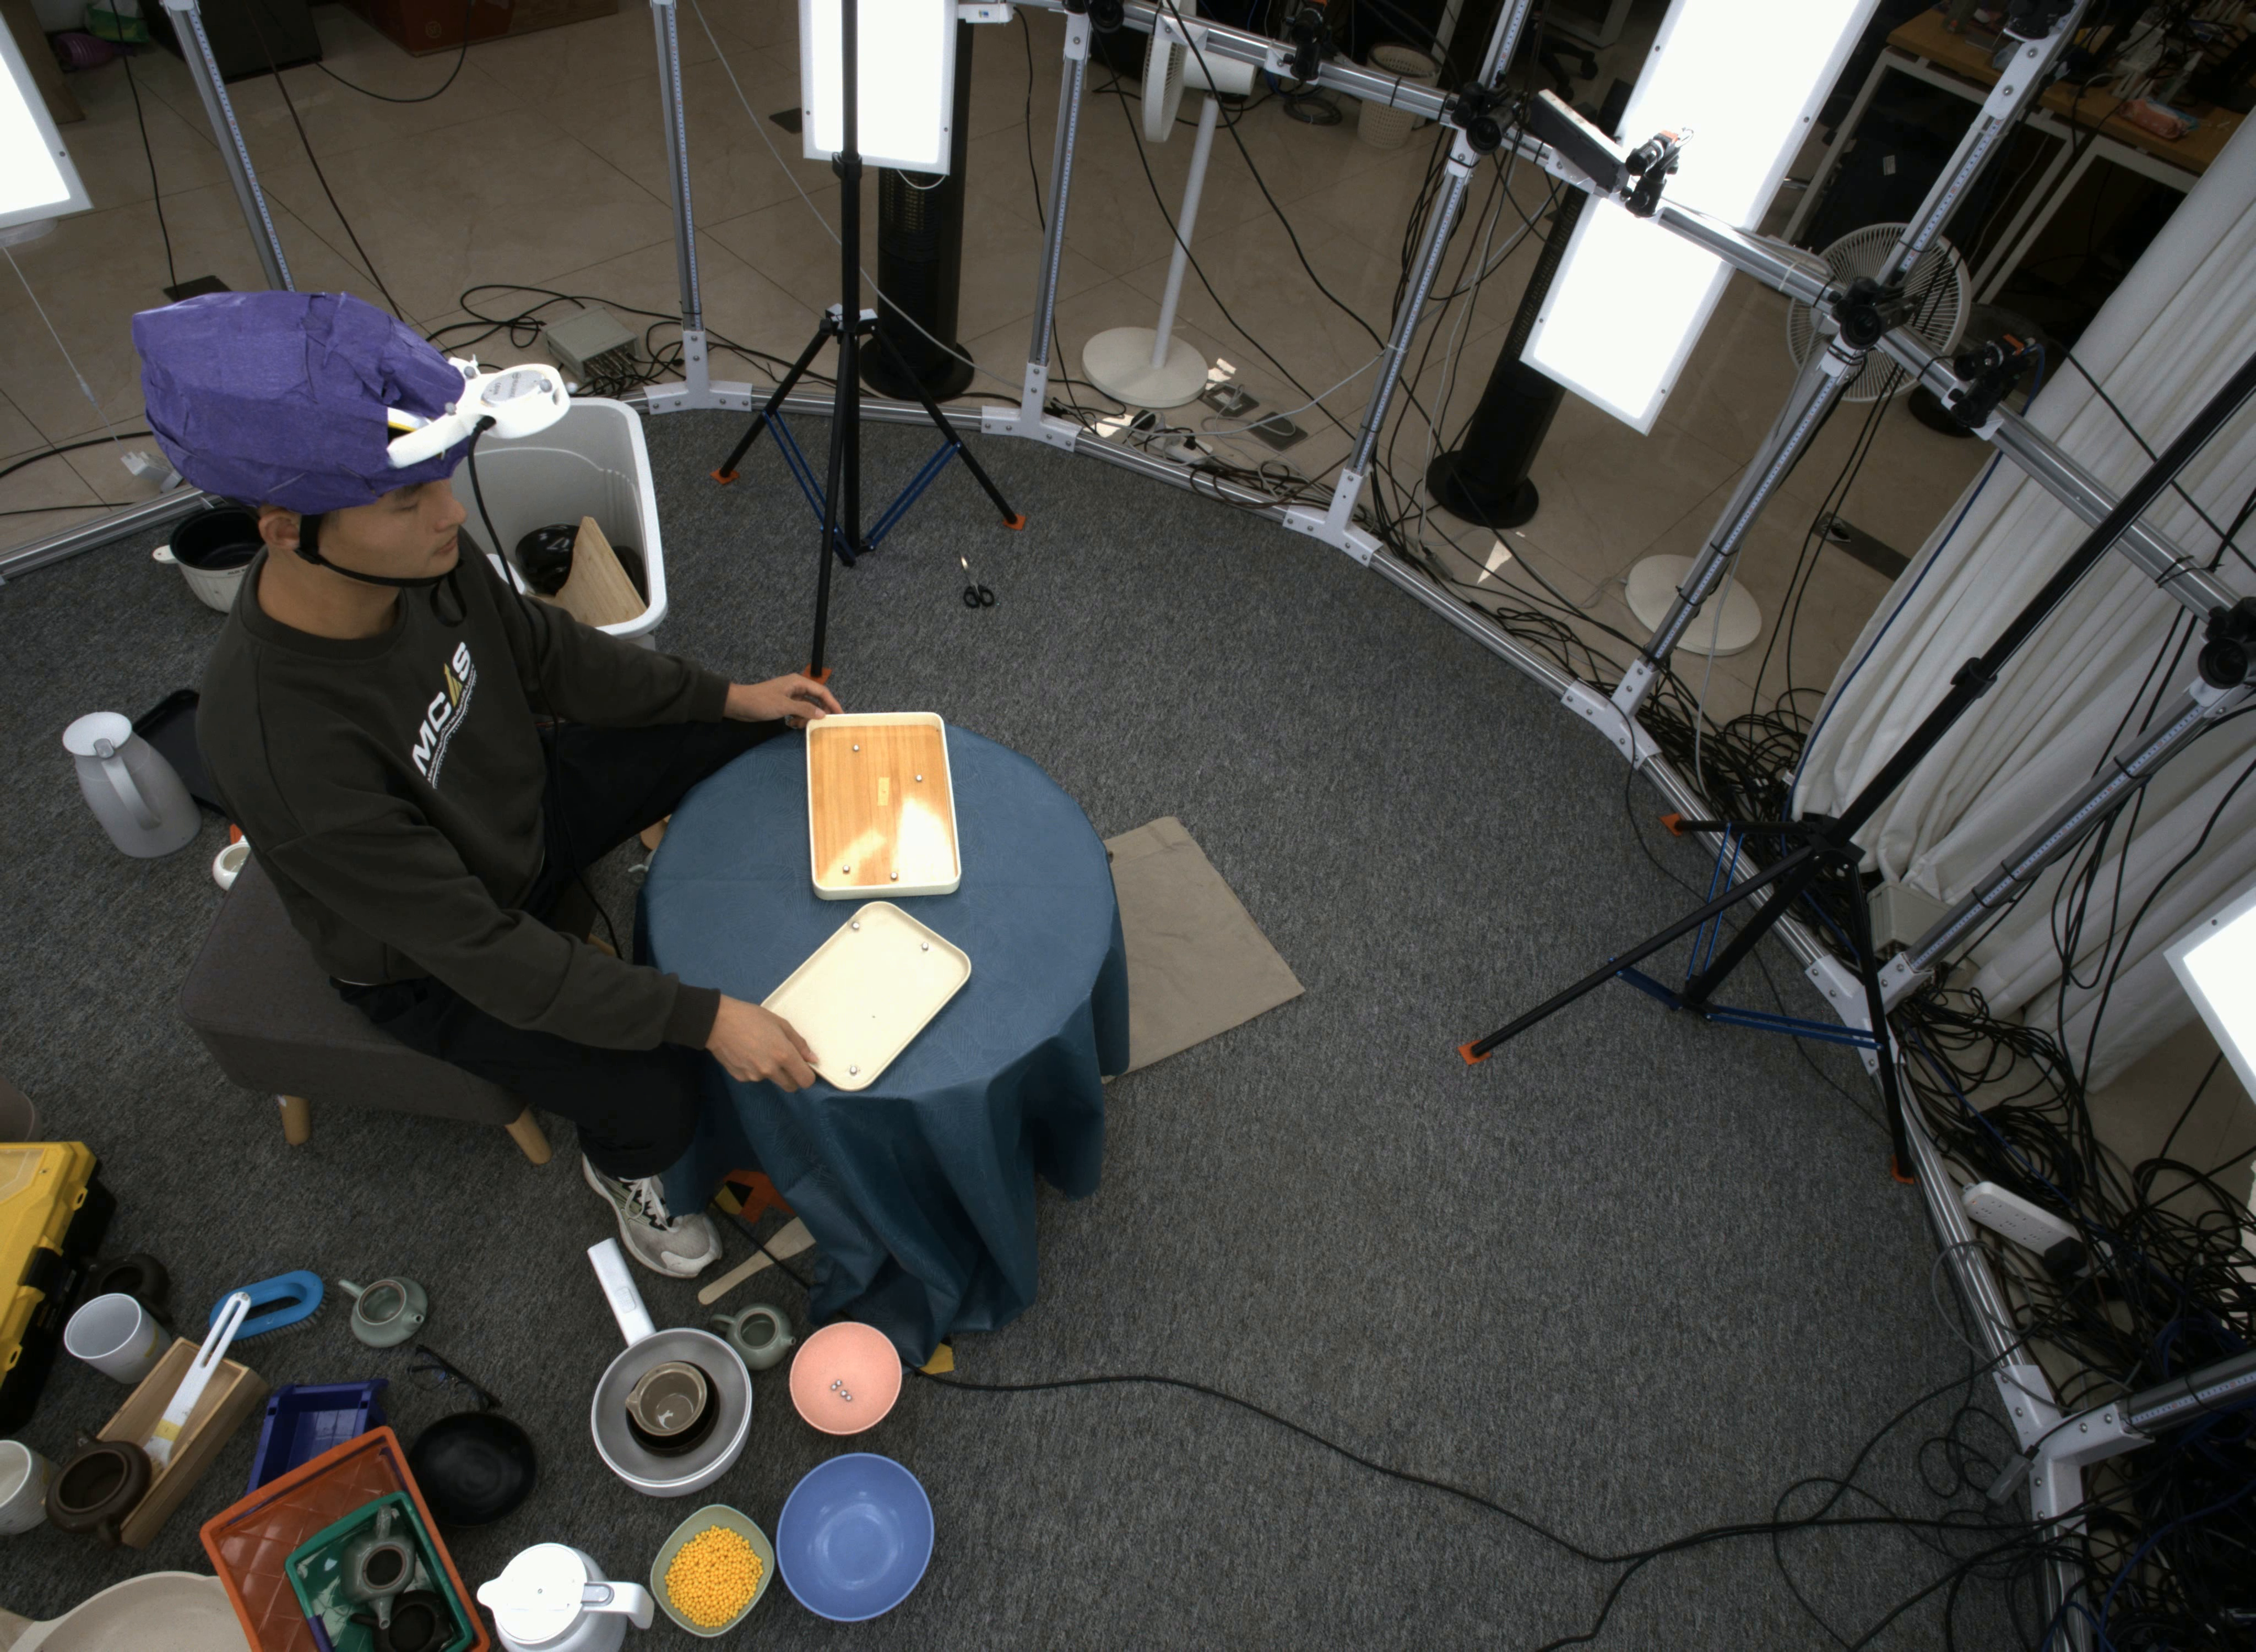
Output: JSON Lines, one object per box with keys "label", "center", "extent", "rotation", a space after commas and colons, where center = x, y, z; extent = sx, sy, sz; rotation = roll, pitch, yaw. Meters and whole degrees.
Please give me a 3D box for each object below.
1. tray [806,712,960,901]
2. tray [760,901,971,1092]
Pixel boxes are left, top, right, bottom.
{"label": "tray", "center": [-0.336, -0.034, 1.764], "extent": [0.192, 0.028, 0.293], "rotation": [-2, 54, -15]}
{"label": "tray", "center": [-0.319, 0.204, 1.597], "extent": [0.168, 0.018, 0.239], "rotation": [33, 54, 12]}
